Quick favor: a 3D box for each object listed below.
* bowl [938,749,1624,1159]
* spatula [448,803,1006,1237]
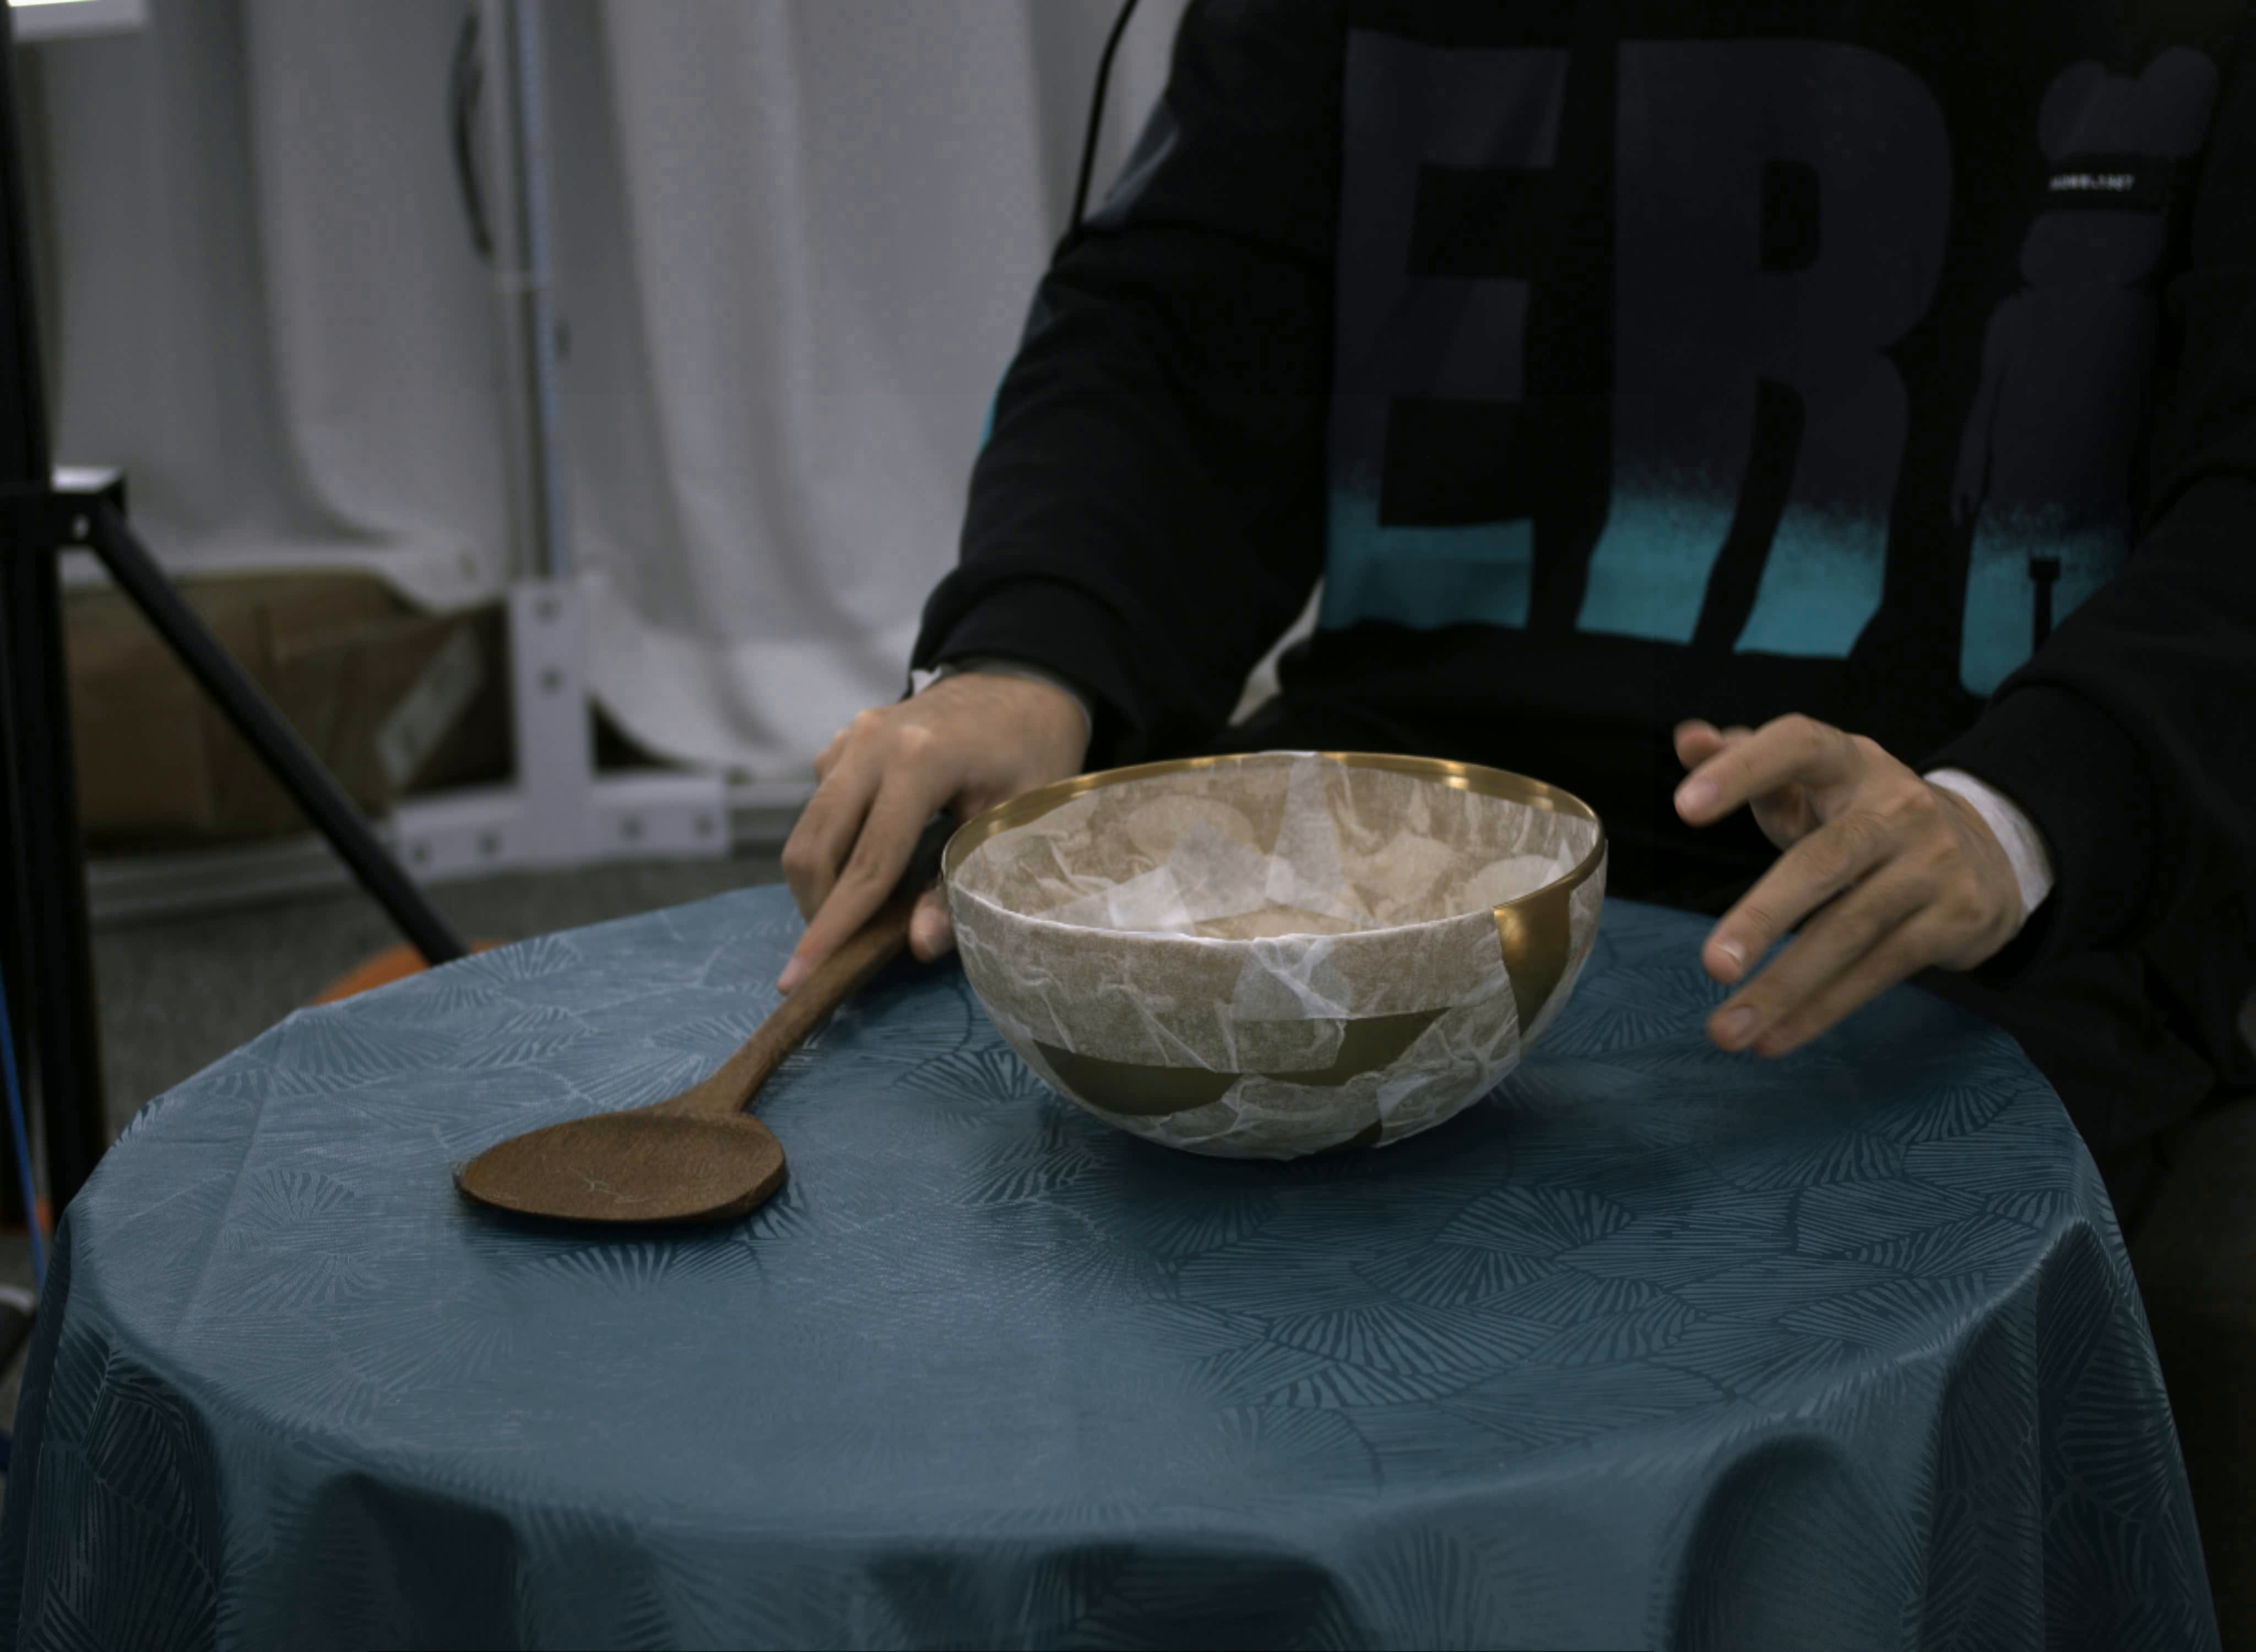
[{"bbox_3d":[0.048,0.046,1.599,0.213,0.094,0.216,-3,14,-1],"label":"bowl"},{"bbox_3d":[-0.102,0.055,1.711,0.097,0.016,0.382,3,20,19],"label":"spatula"}]
